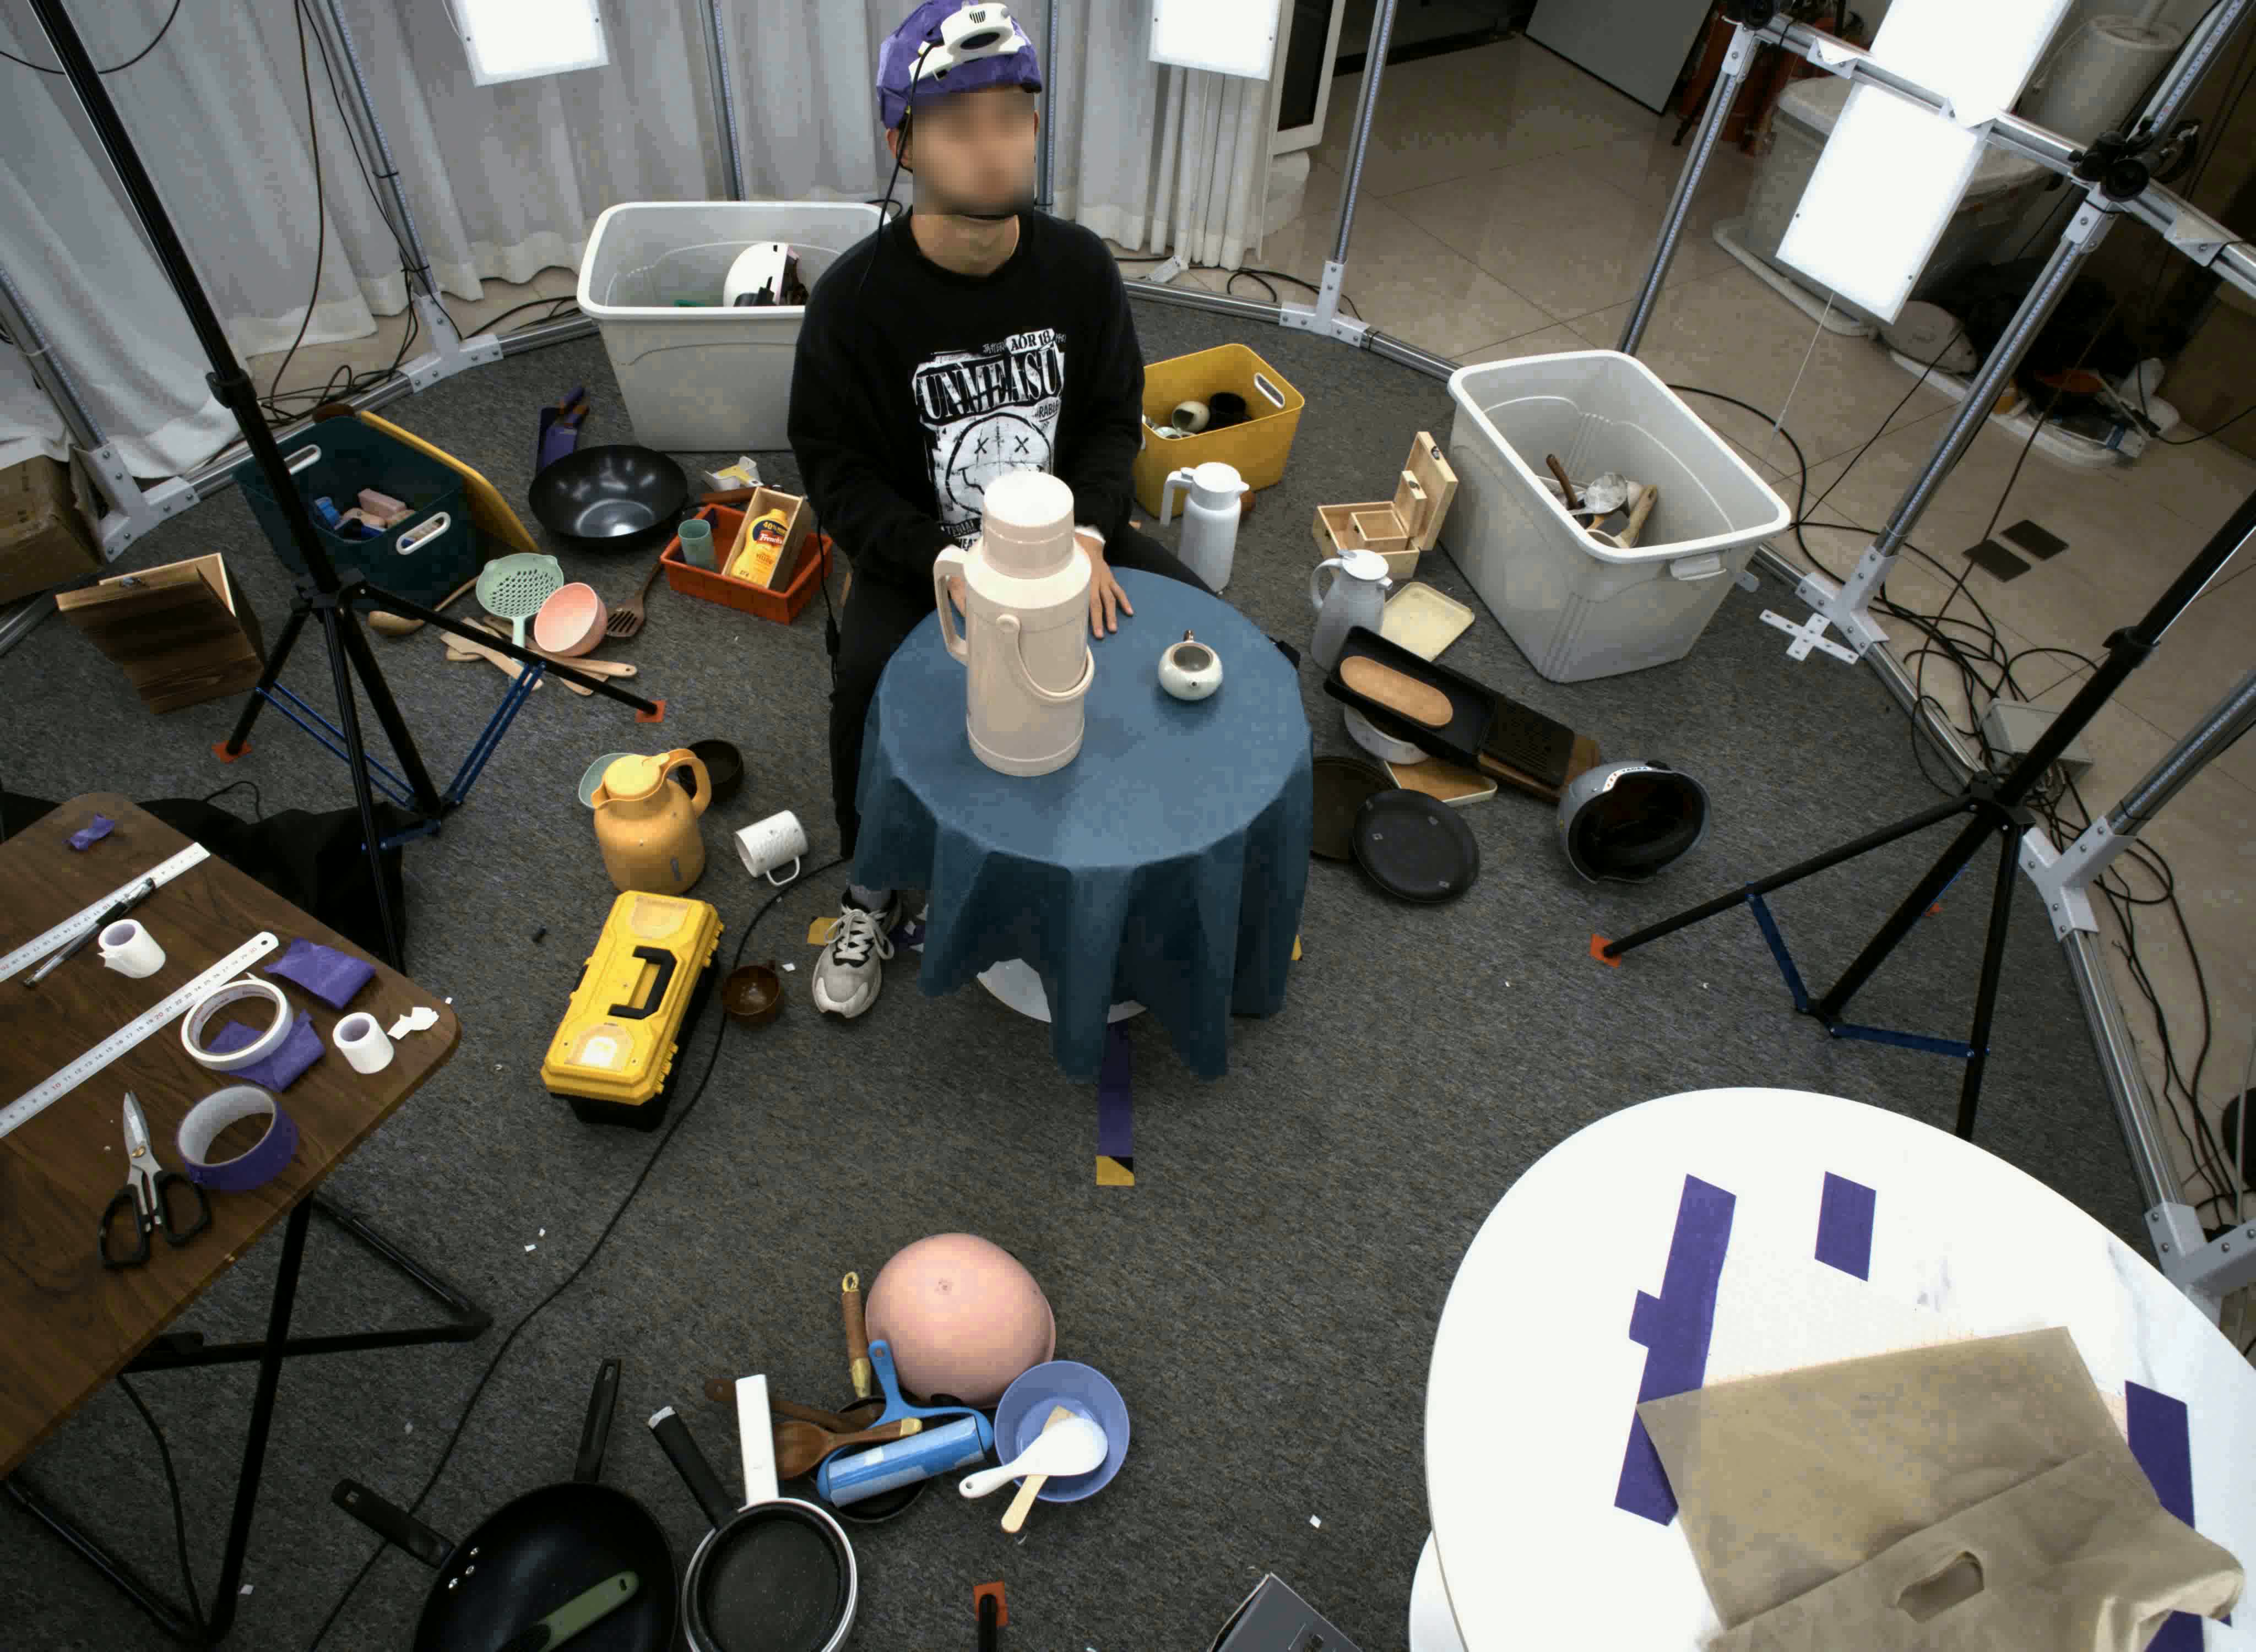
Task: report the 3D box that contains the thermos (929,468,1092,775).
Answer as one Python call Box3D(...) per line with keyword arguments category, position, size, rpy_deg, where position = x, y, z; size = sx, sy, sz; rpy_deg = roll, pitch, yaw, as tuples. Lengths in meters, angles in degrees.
Box3D(category="thermos", position=(-0.145, -0.257, 1.628), size=(0.207, 0.396, 0.179), rpy_deg=(12, 51, 5))

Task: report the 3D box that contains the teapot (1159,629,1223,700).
Box3D(category="teapot", position=(0.089, -0.228, 1.834), size=(0.092, 0.058, 0.131), rpy_deg=(-3, 50, -2))
